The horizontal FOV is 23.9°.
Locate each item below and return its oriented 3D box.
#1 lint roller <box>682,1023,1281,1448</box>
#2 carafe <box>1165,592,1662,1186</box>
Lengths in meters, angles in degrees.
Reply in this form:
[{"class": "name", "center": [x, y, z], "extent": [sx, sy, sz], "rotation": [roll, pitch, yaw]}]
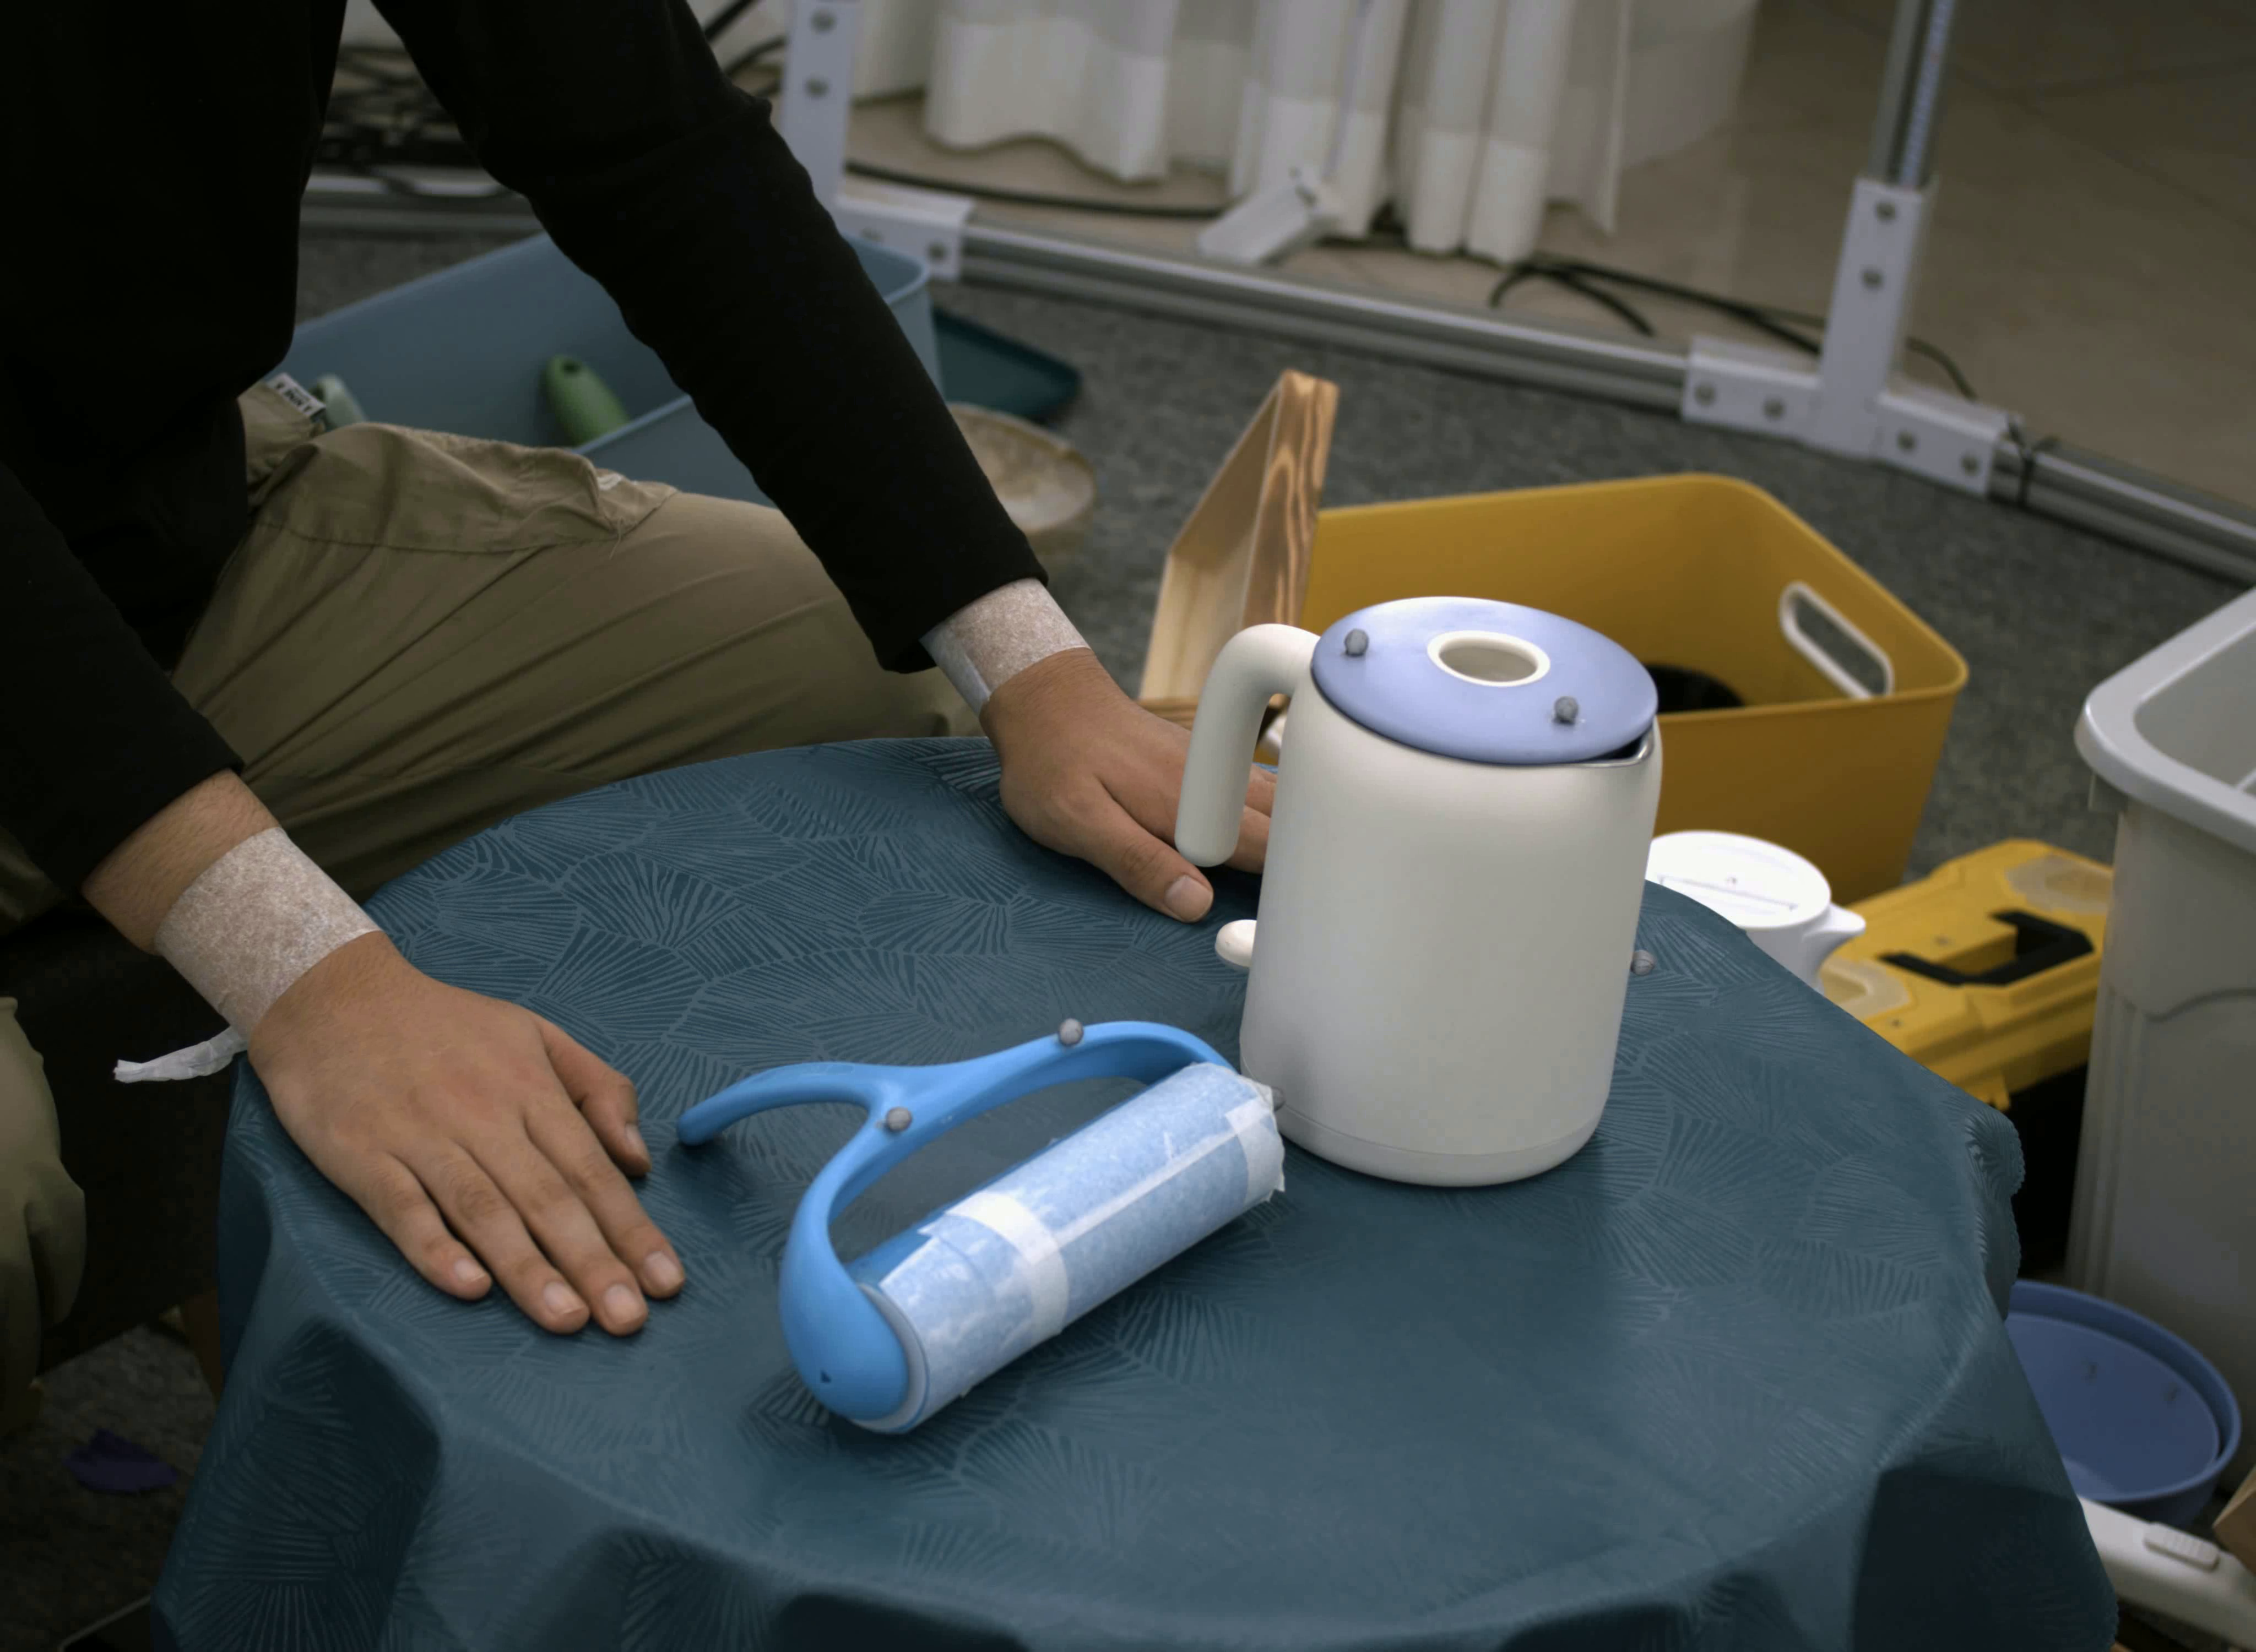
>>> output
[{"class": "lint roller", "center": [-0.074, 0.111, 1.746], "extent": [0.181, 0.067, 0.228], "rotation": [28, 36, 25]}, {"class": "carafe", "center": [0.093, 0.013, 1.851], "extent": [0.192, 0.182, 0.131], "rotation": [23, 30, 33]}]
